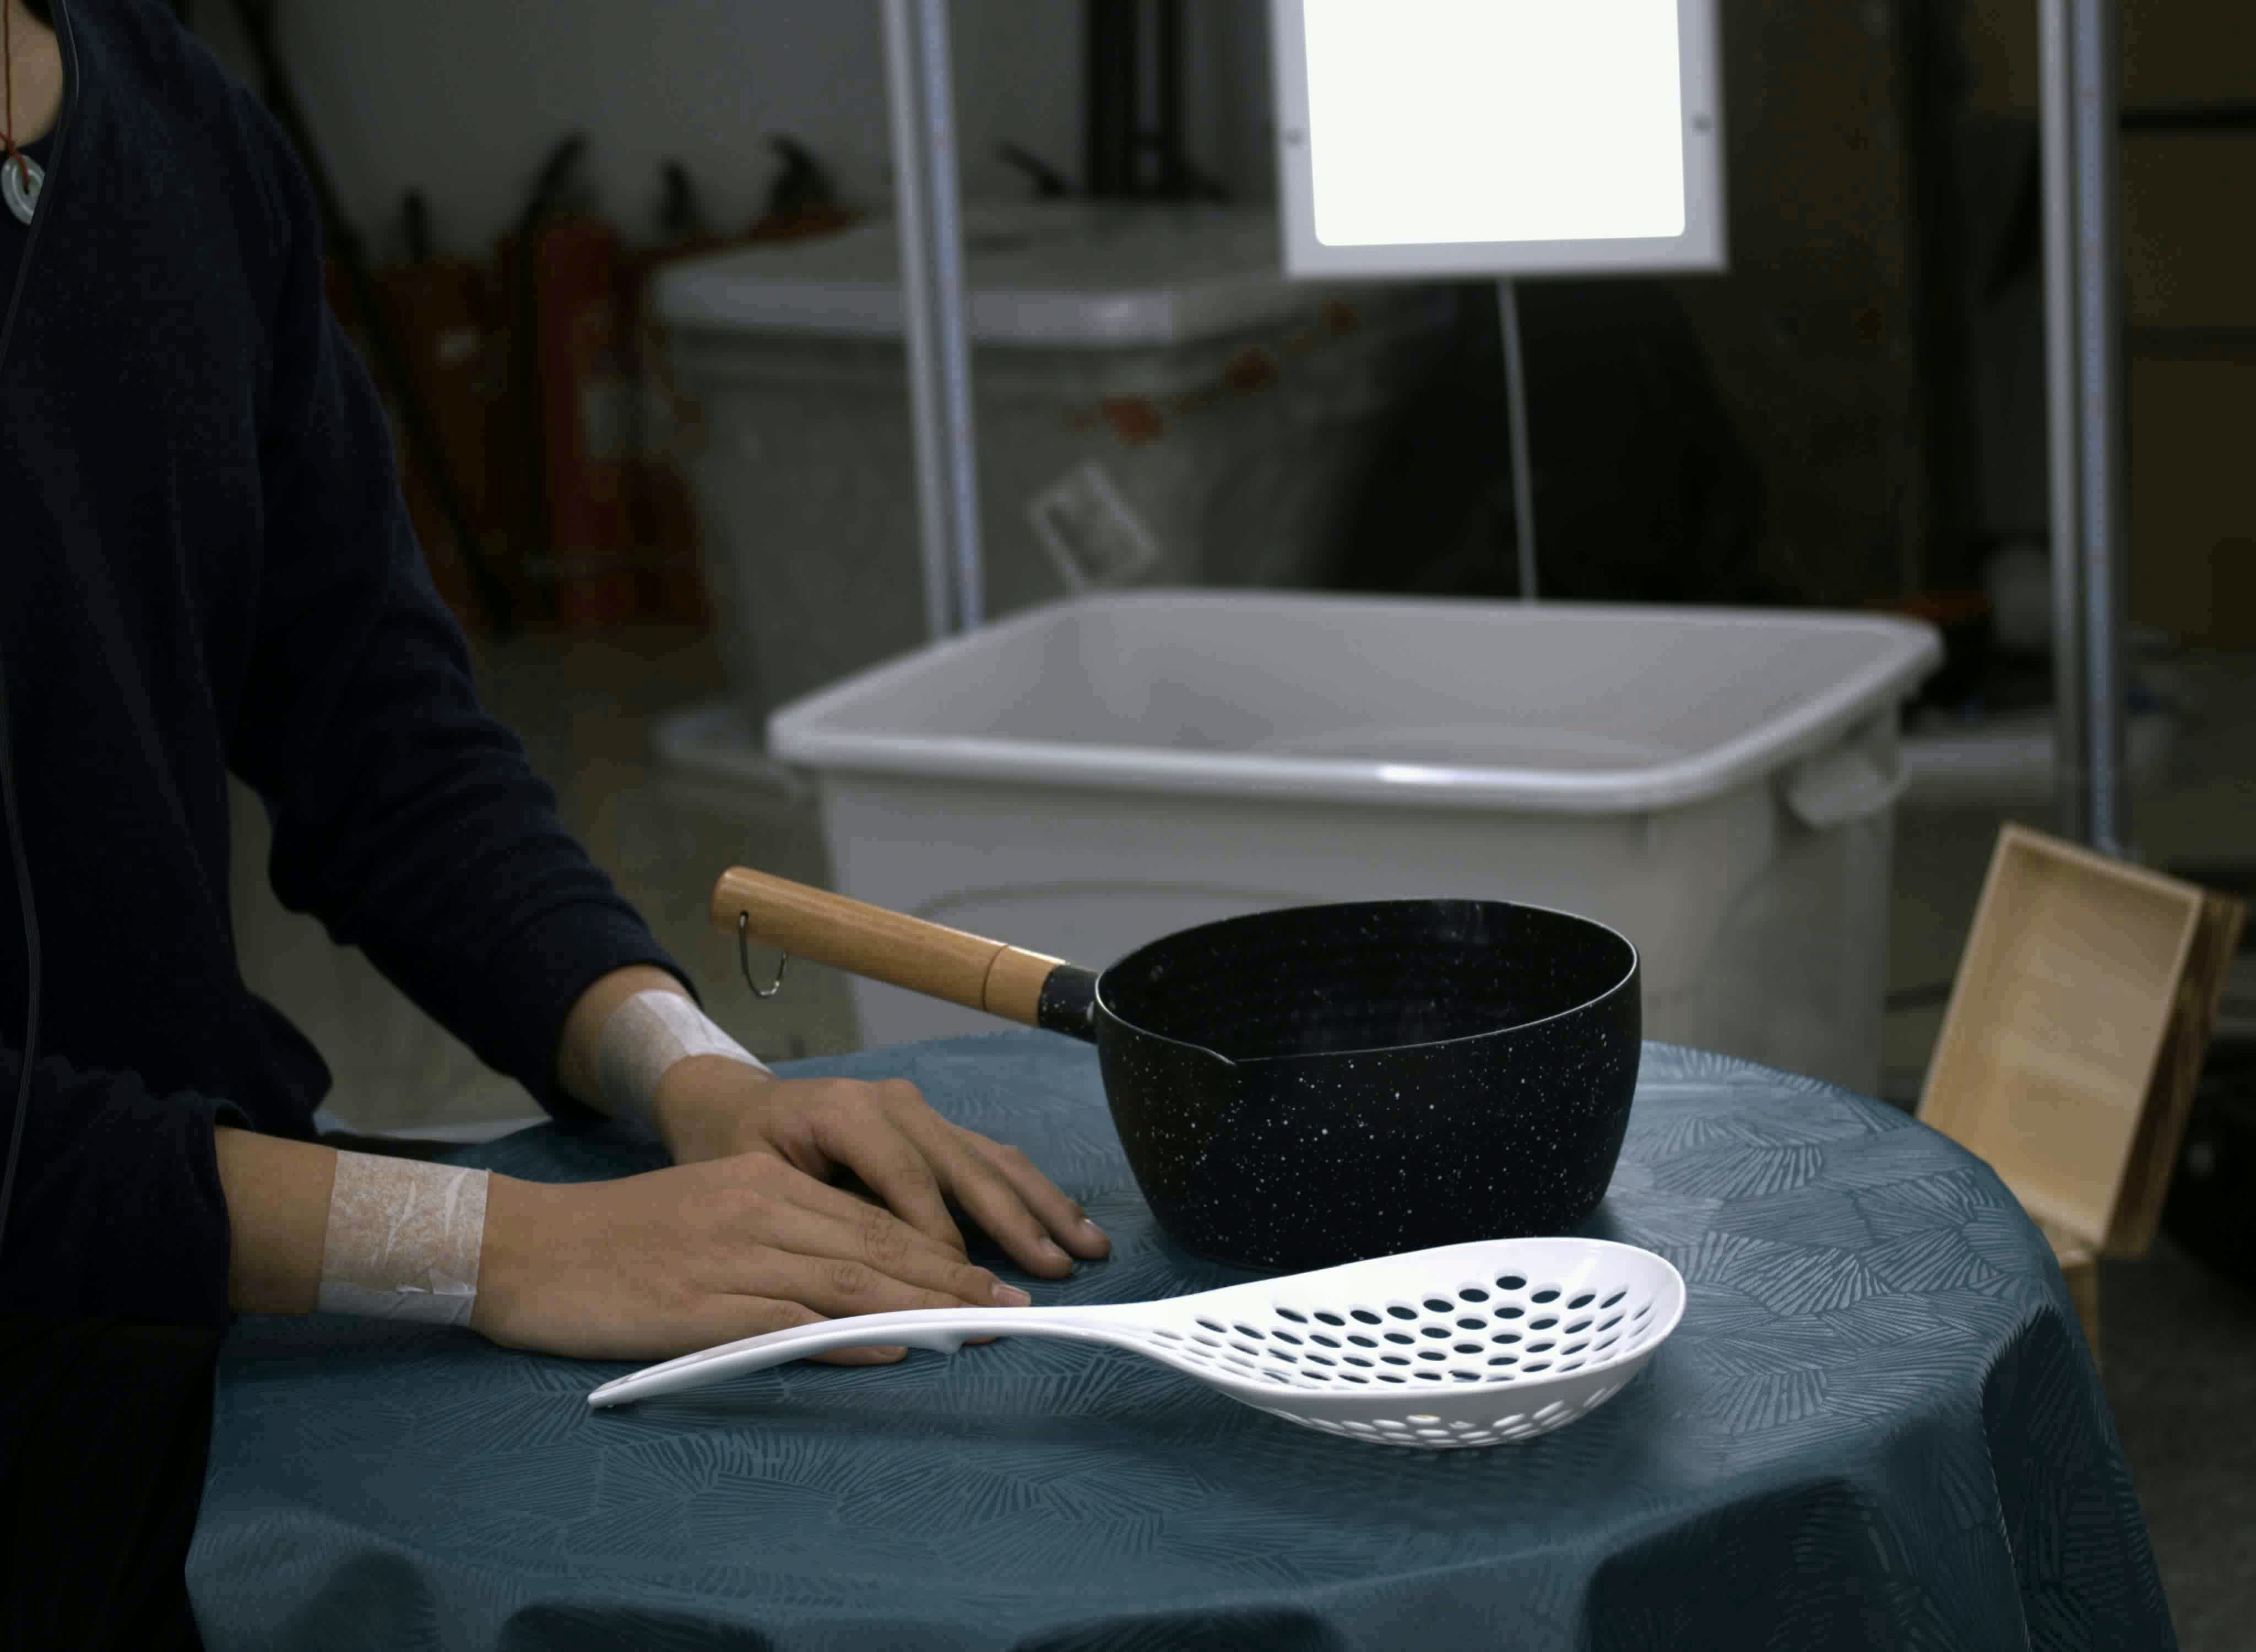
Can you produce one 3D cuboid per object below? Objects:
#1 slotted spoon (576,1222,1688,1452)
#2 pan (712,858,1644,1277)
[{"bbox_3d":[-0.002,0.160,1.670,0.351,0.050,0.135,1,16,17],"label":"slotted spoon"},{"bbox_3d":[0.010,0.074,1.879,0.348,0.108,0.203,3,17,26],"label":"pan"}]
